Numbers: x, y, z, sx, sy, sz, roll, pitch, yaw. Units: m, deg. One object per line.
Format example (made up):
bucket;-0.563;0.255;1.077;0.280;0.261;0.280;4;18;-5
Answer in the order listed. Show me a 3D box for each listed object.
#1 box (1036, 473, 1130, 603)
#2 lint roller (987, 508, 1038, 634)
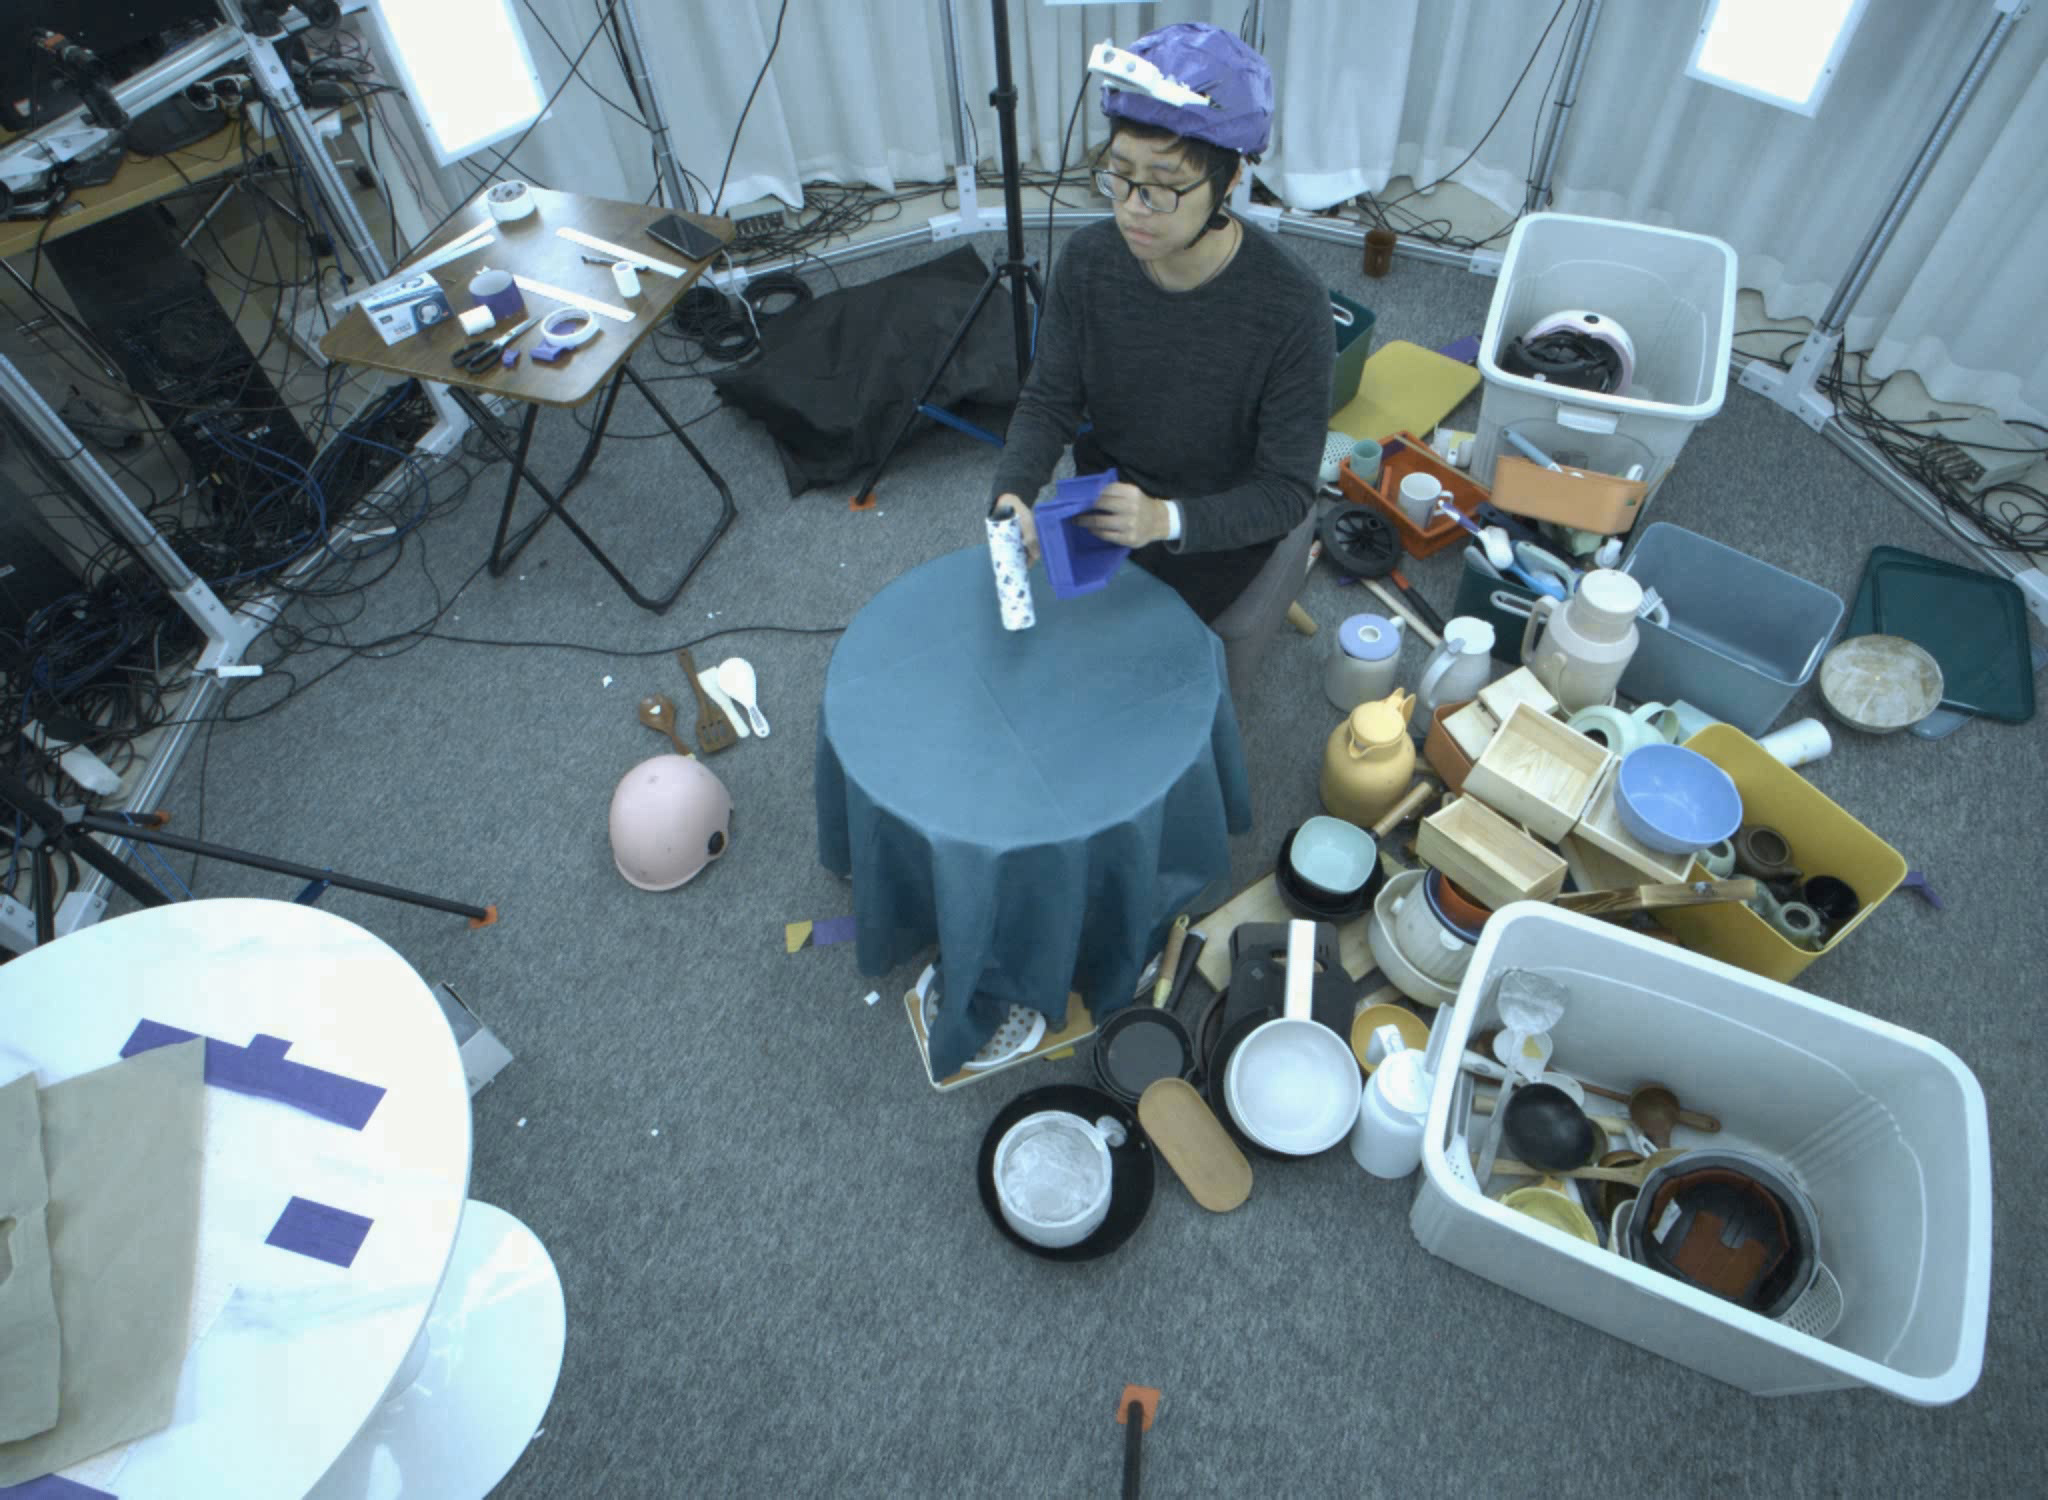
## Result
box;0.078;-0.287;1.661;0.081;0.126;0.179;-4;27;19
lint roller;-0.009;-0.295;1.830;0.050;0.178;0.245;-7;26;7
